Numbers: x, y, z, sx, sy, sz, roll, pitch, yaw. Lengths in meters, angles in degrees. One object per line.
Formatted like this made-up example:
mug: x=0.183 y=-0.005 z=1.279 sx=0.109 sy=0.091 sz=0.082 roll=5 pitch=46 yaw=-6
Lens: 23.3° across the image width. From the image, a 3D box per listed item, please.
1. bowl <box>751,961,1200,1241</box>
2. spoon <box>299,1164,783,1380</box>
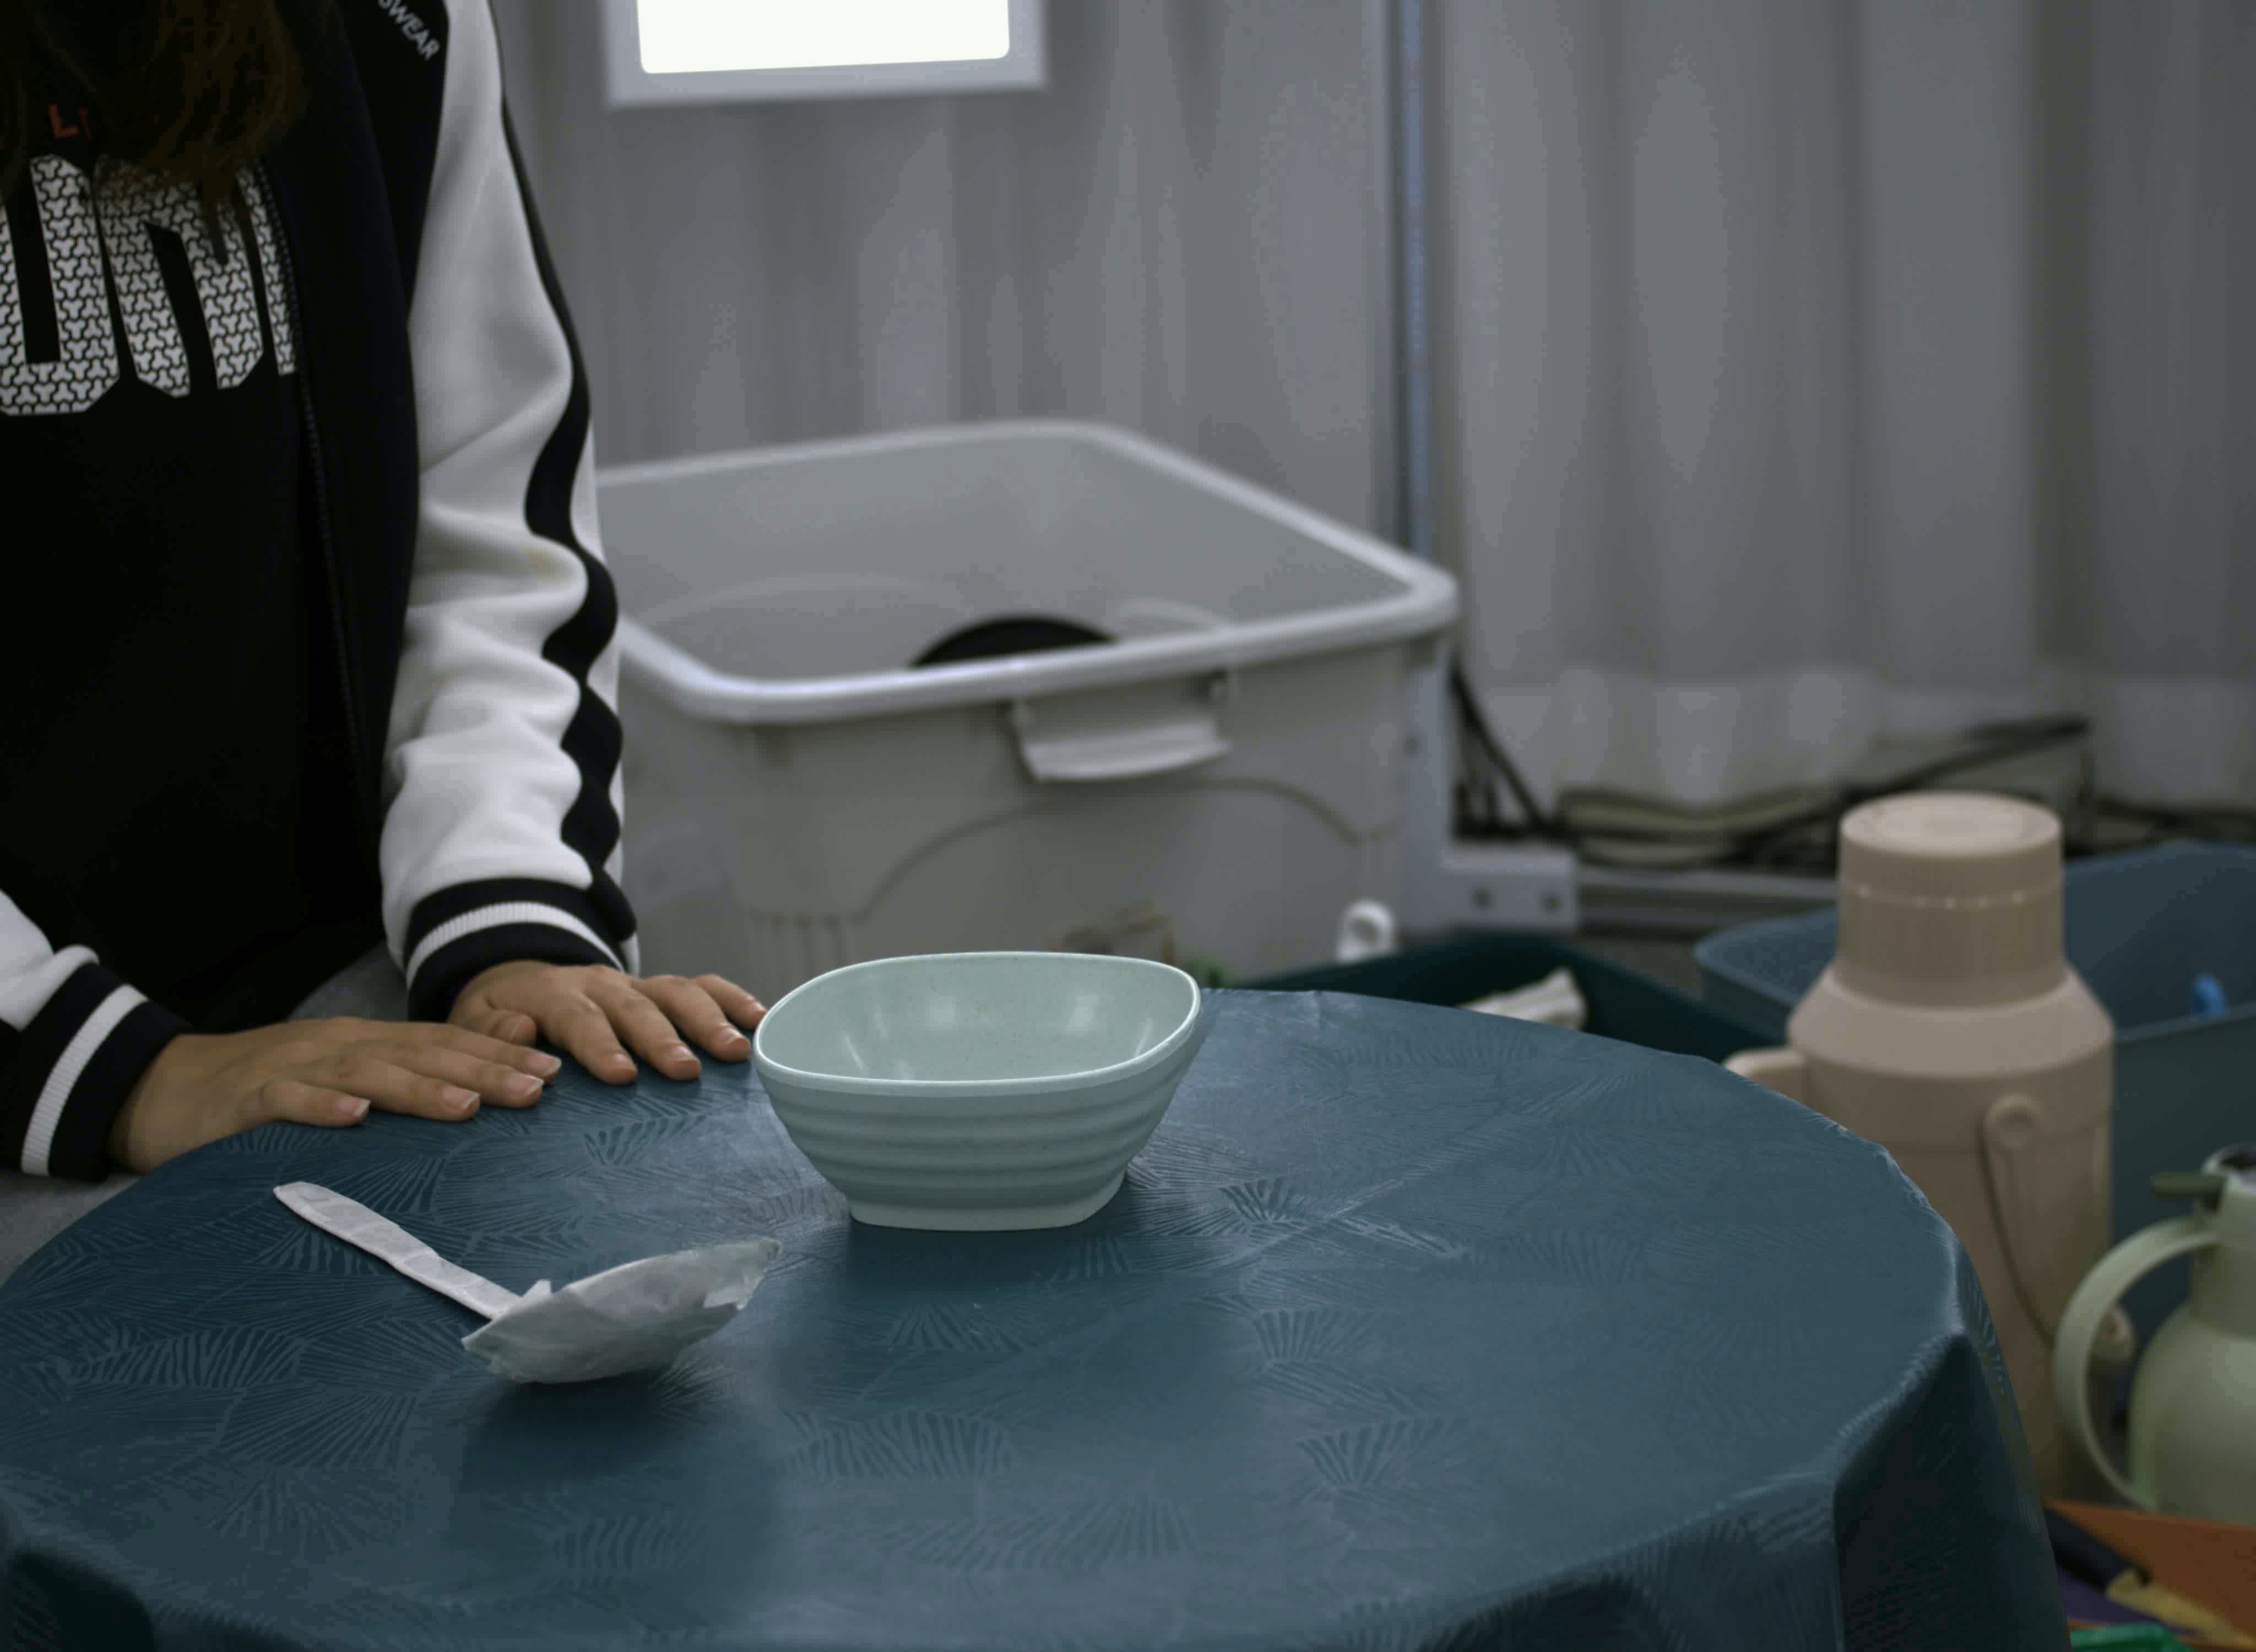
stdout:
bowl: x=-0.046 y=0.089 z=1.718 sx=0.151 sy=0.058 sz=0.152 roll=-3 pitch=14 yaw=0
spoon: x=-0.189 y=0.114 z=1.642 sx=0.100 sy=0.059 sz=0.279 roll=-6 pitch=14 yaw=-29
